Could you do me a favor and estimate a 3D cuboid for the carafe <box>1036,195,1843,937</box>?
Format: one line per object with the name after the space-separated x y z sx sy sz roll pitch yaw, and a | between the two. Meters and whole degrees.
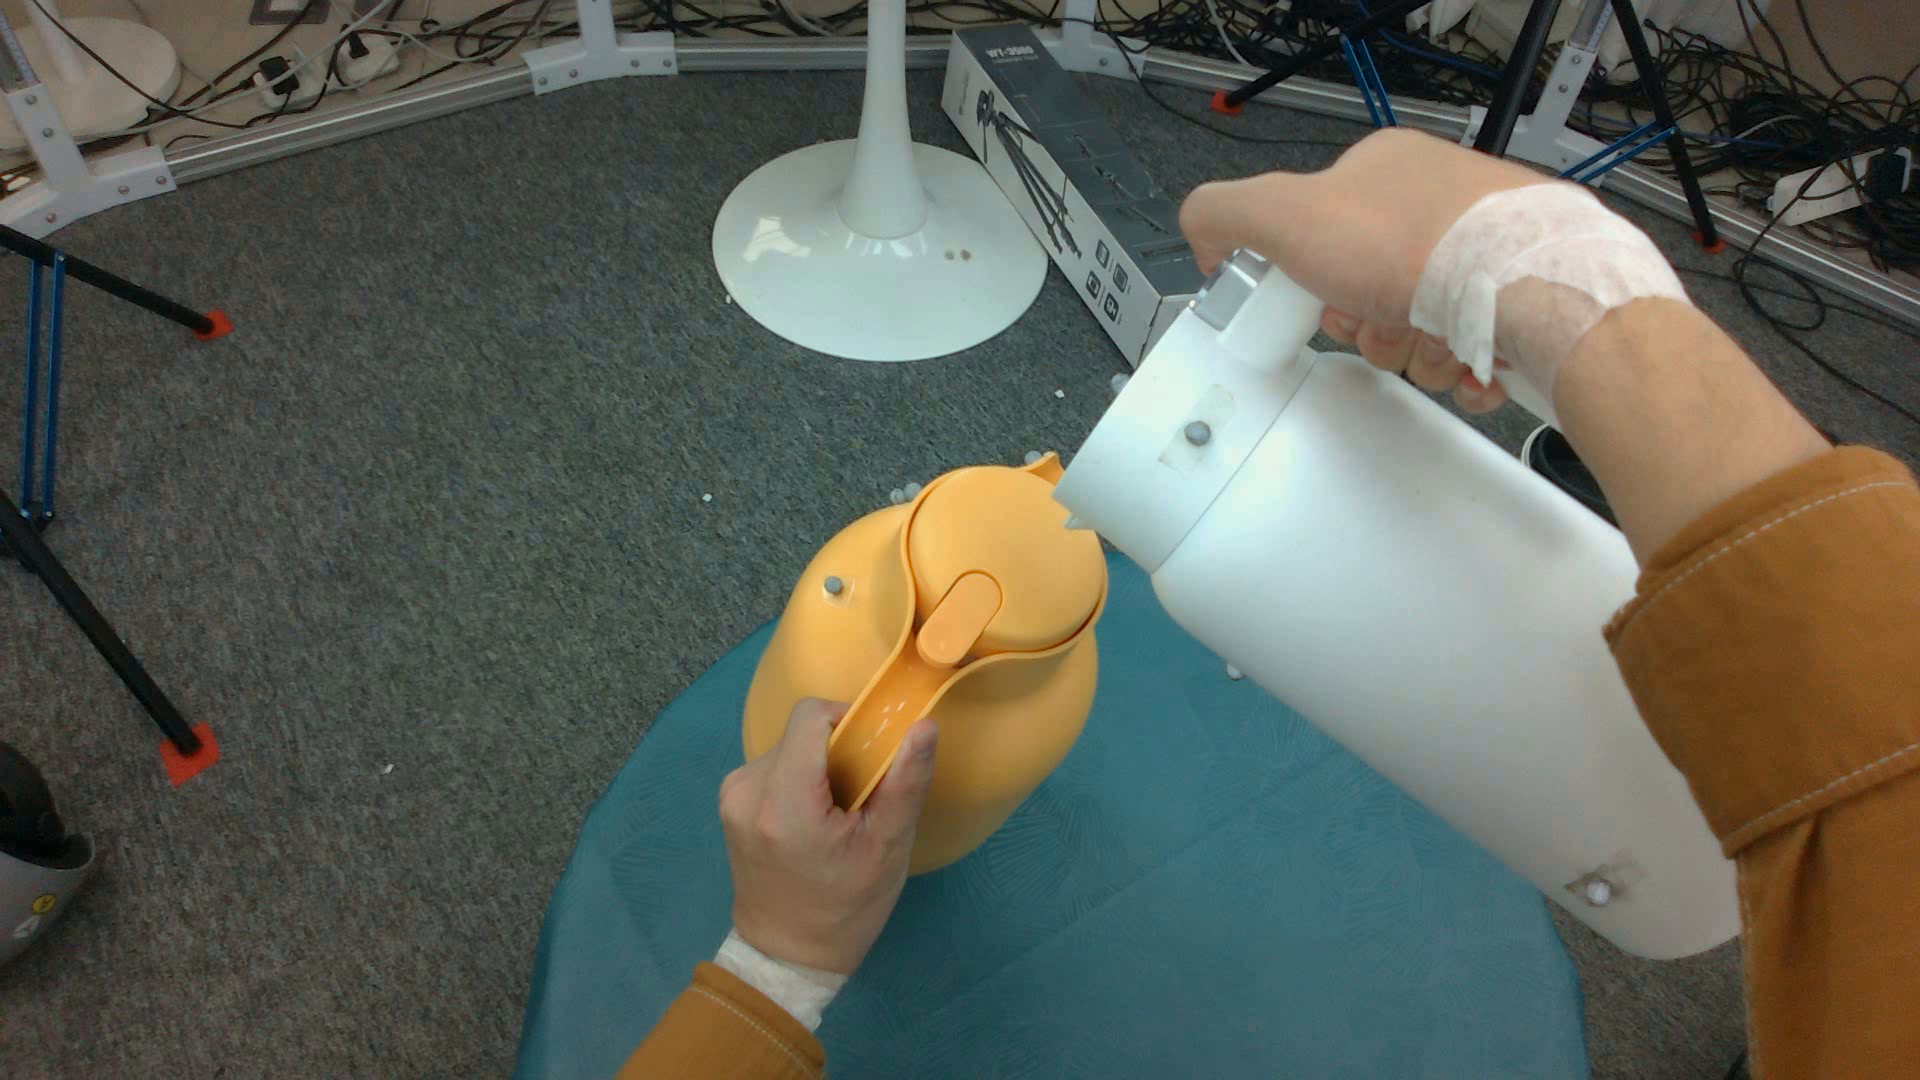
0.172 0.006 0.487 0.269 0.172 0.124 38 40 5 | carafe

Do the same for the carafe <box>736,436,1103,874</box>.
-0.028 0.069 0.686 0.163 0.259 0.203 37 54 6 | carafe
